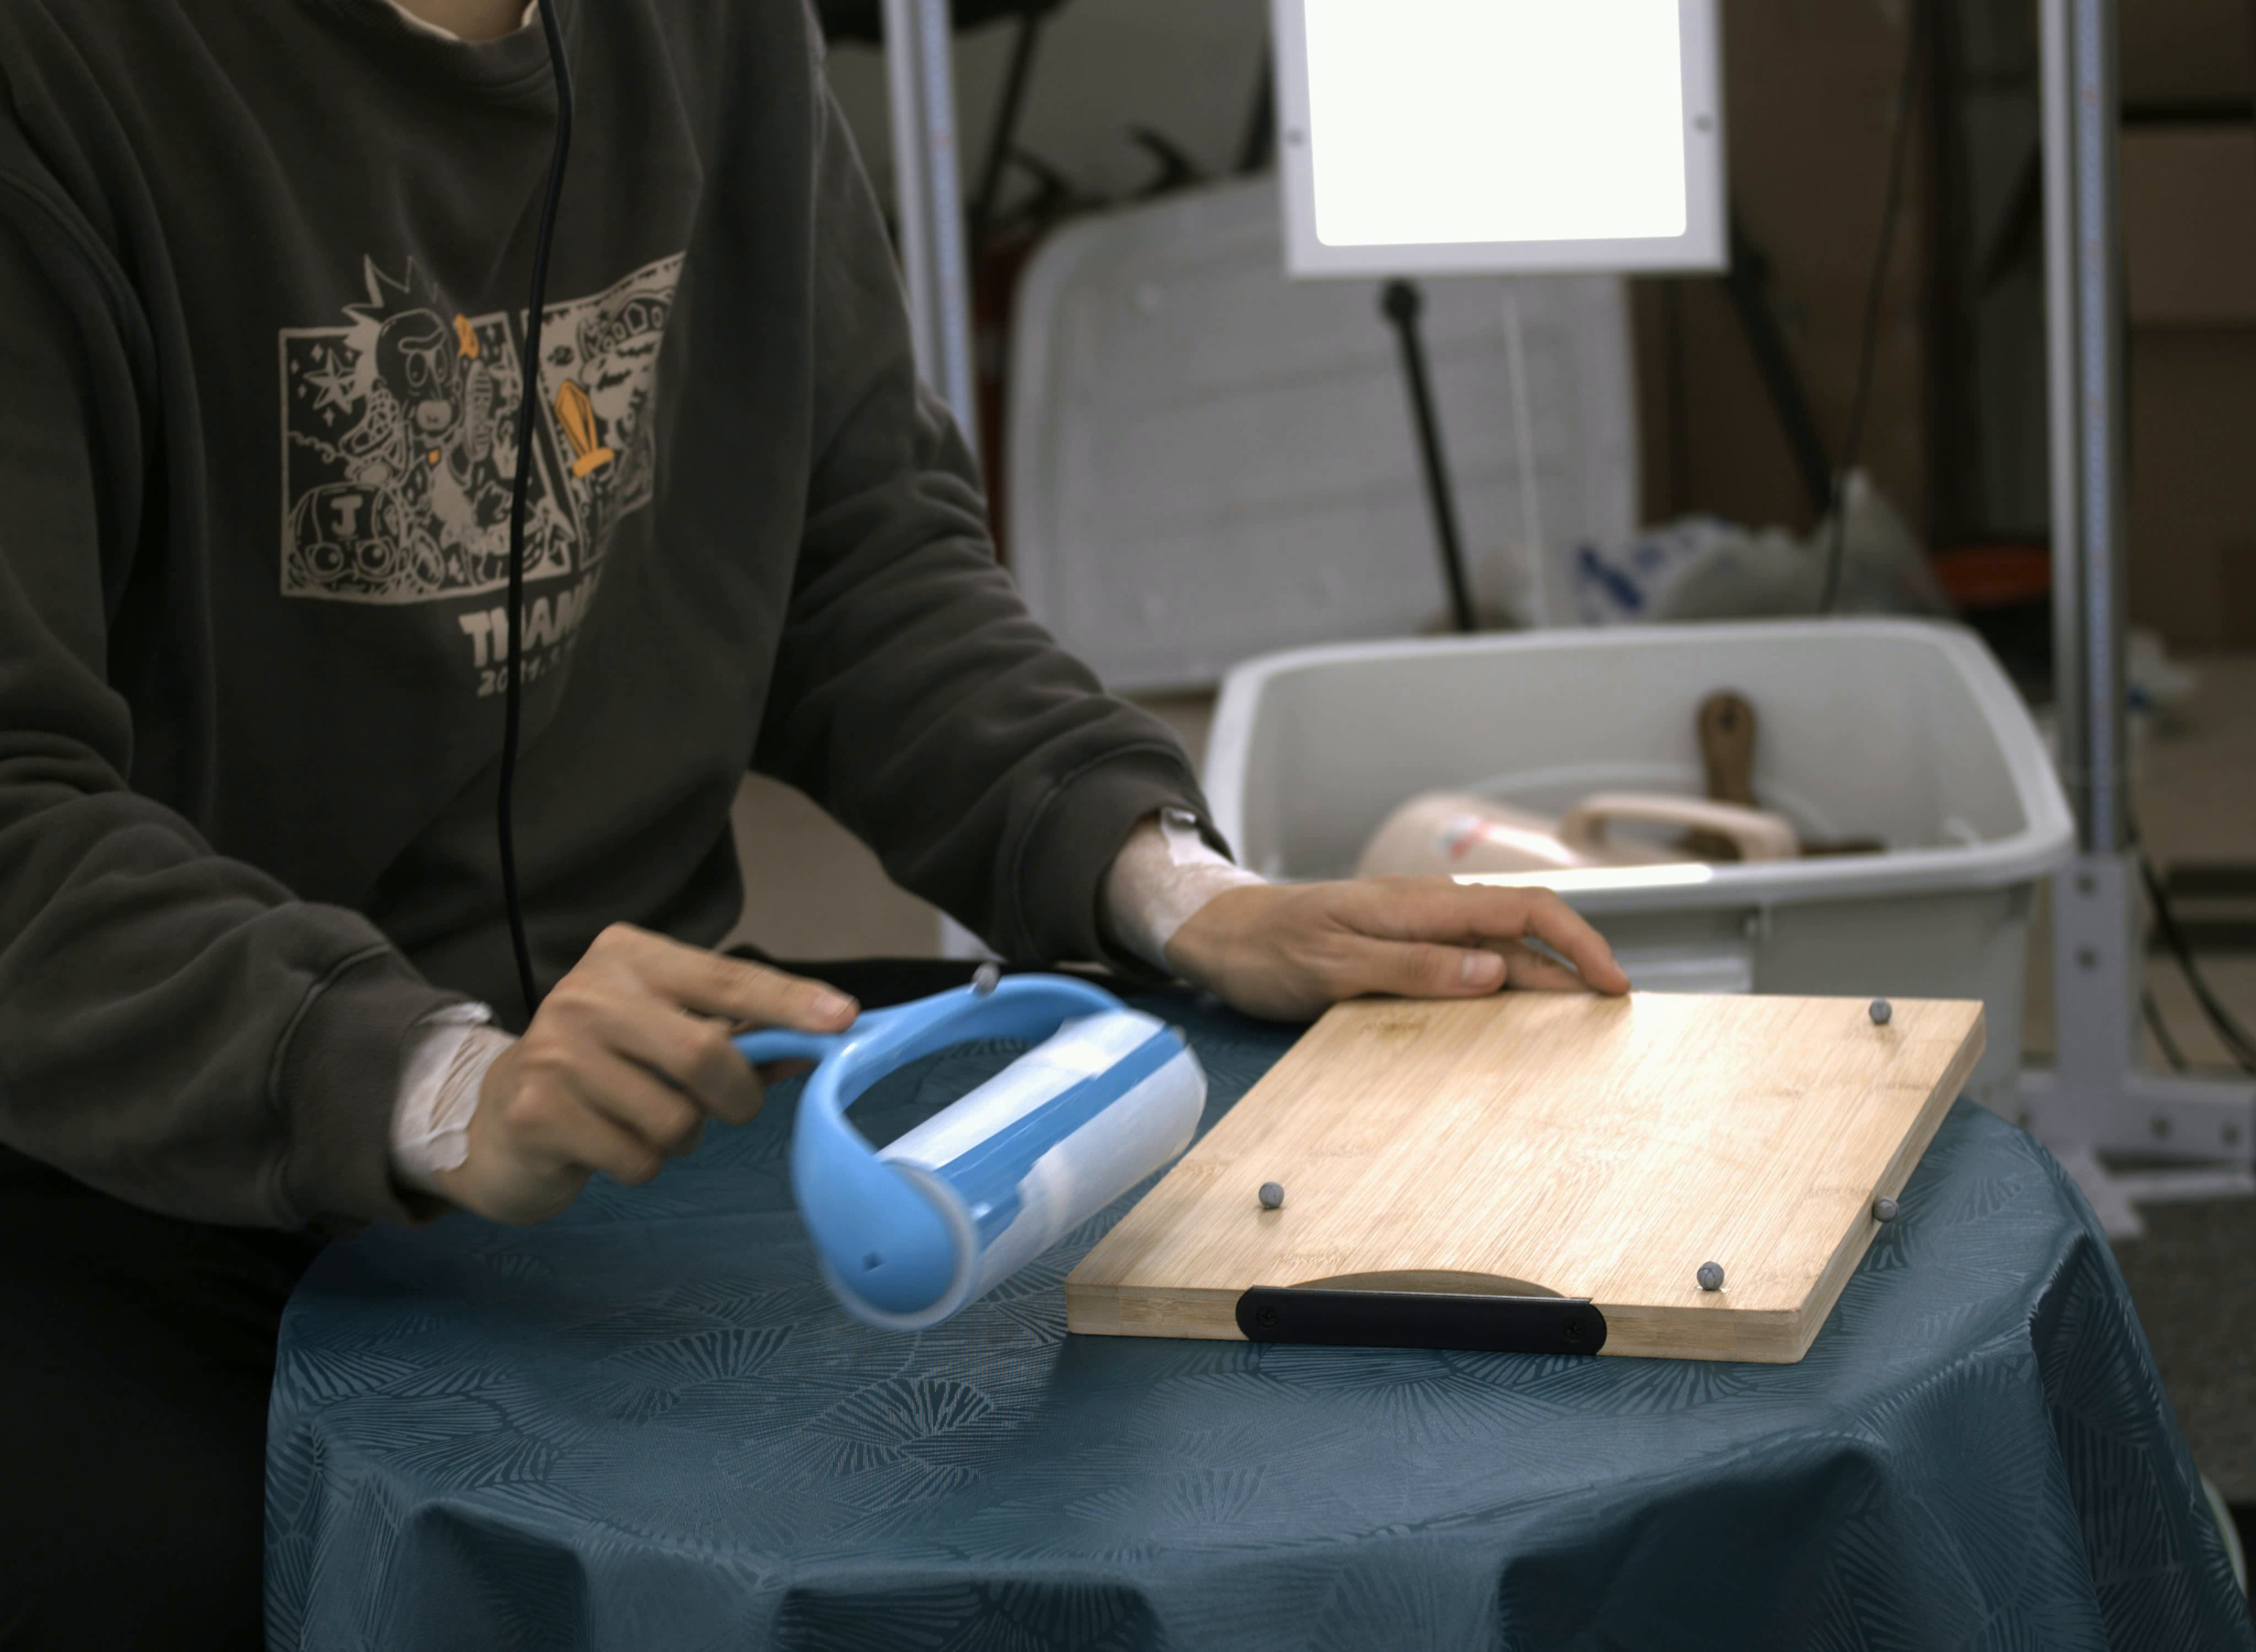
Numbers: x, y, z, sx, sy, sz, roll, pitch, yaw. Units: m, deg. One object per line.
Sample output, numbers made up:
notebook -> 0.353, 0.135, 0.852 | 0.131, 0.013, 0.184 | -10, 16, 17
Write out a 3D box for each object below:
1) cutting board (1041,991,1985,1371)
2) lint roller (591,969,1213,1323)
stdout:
cutting board -> 0.142, 0.115, 1.860 | 0.254, 0.023, 0.343 | -1, 14, 19
lint roller -> -0.084, 0.091, 1.728 | 0.182, 0.068, 0.225 | 10, 16, 16
